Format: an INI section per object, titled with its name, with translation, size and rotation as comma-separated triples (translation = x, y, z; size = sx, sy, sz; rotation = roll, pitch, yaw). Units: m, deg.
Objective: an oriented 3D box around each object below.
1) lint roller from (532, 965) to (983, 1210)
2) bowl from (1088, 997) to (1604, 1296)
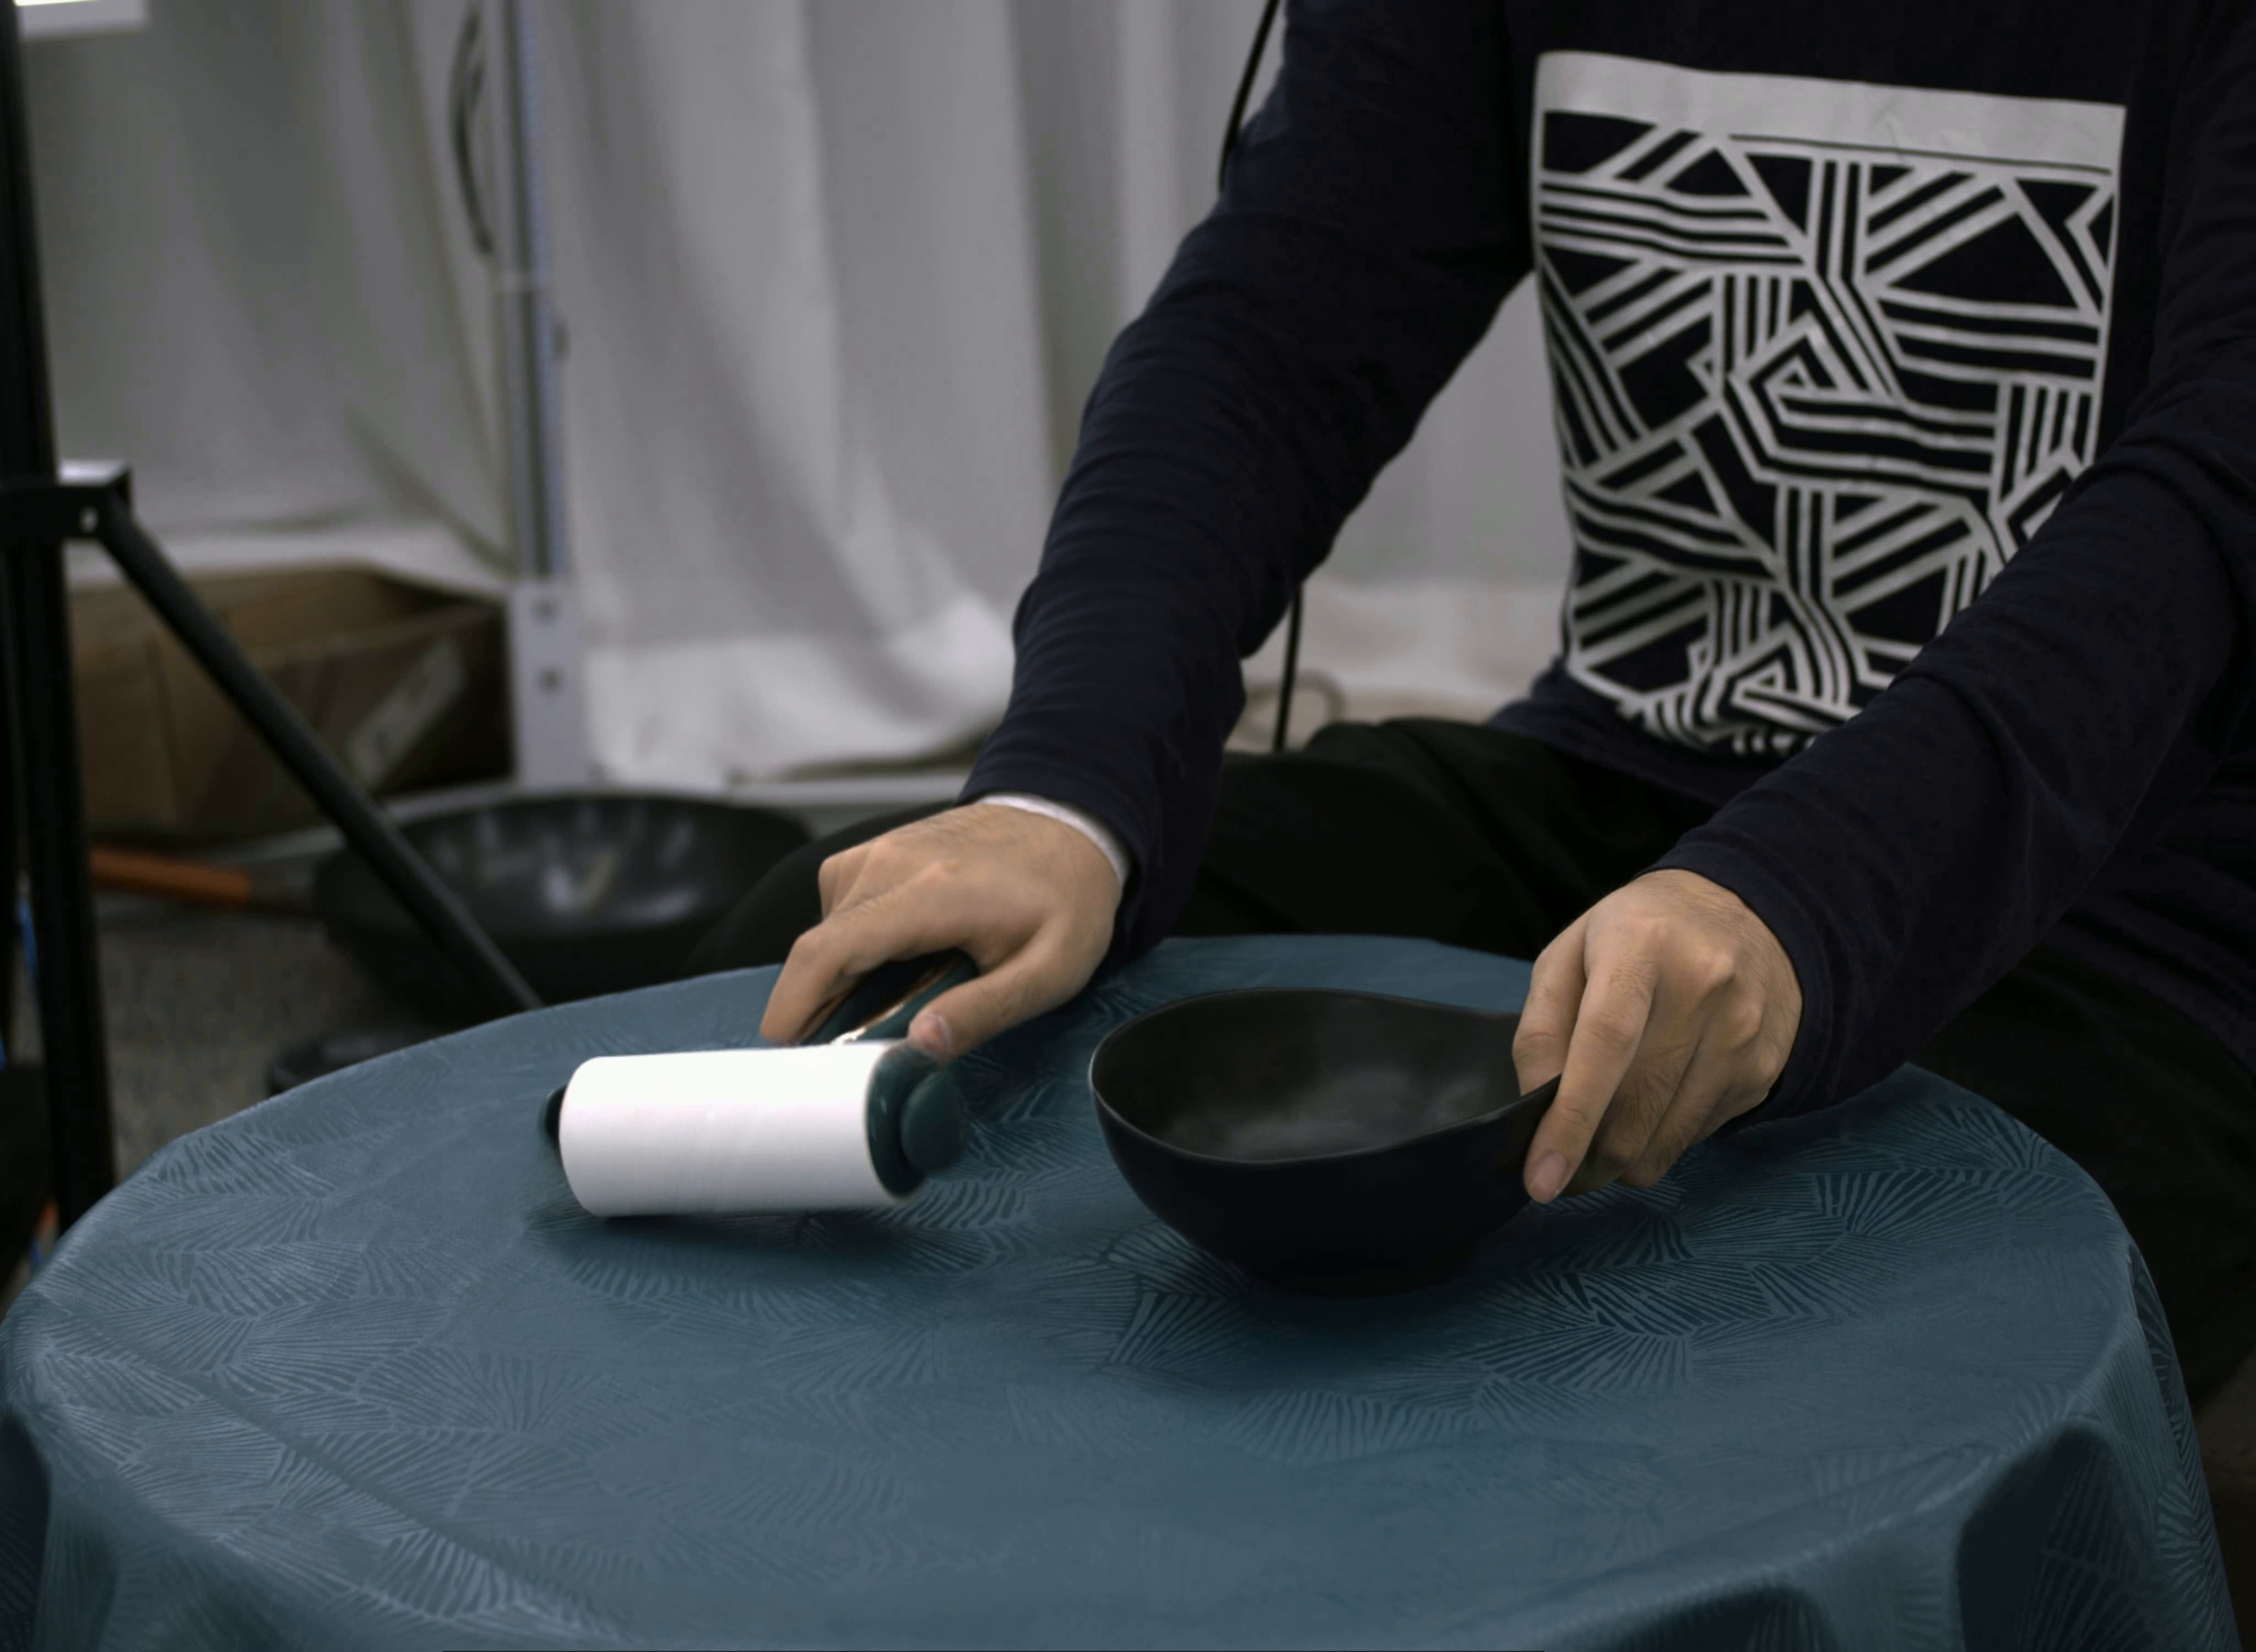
[lint roller]
translation = -0.088, 0.060, 1.597
size = 0.136, 0.048, 0.178
rotation = -6, 20, 25
[bowl]
translation = 0.063, 0.092, 1.492
size = 0.140, 0.067, 0.167
rotation = 7, 17, 29
